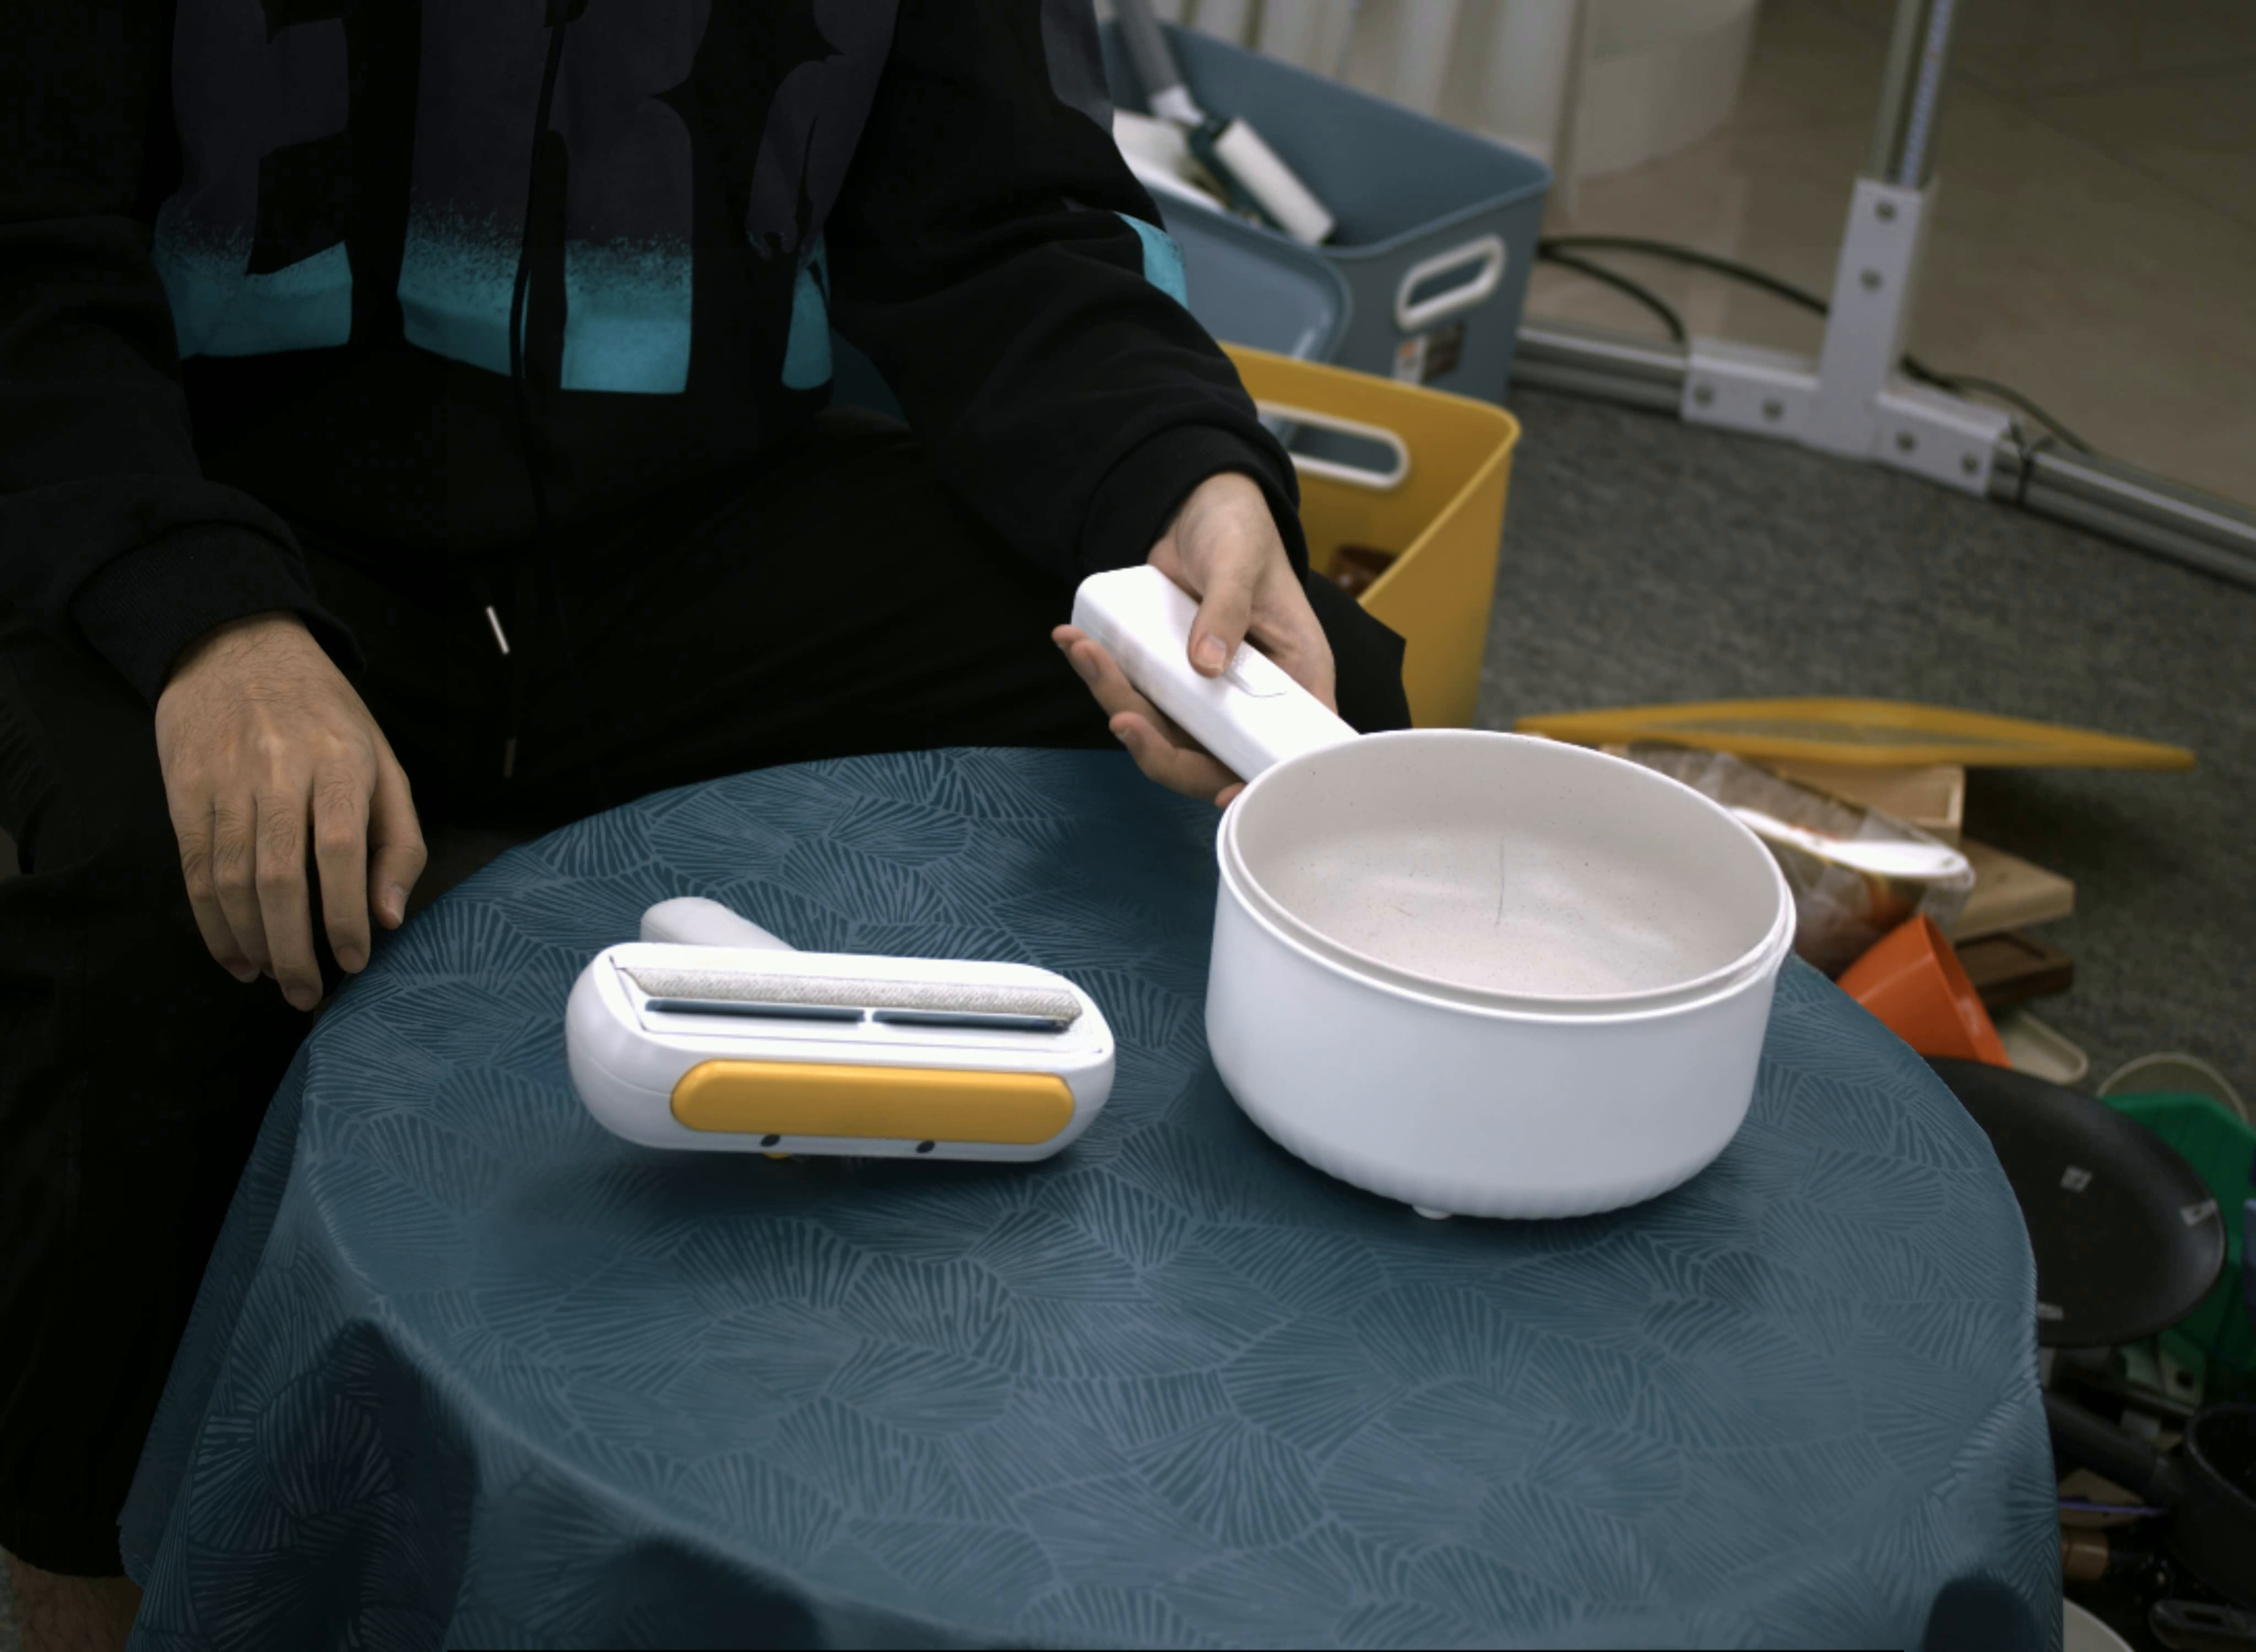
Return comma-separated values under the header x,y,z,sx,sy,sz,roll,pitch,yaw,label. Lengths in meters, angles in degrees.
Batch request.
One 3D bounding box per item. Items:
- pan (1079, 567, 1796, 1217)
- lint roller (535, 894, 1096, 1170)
x,y,z,sx,sy,sz,roll,pitch,yaw,label
0.085,0.021,1.906,0.200,0.102,0.358,-11,31,-31,pan
-0.124,0.057,1.828,0.191,0.074,0.194,1,25,-22,lint roller
